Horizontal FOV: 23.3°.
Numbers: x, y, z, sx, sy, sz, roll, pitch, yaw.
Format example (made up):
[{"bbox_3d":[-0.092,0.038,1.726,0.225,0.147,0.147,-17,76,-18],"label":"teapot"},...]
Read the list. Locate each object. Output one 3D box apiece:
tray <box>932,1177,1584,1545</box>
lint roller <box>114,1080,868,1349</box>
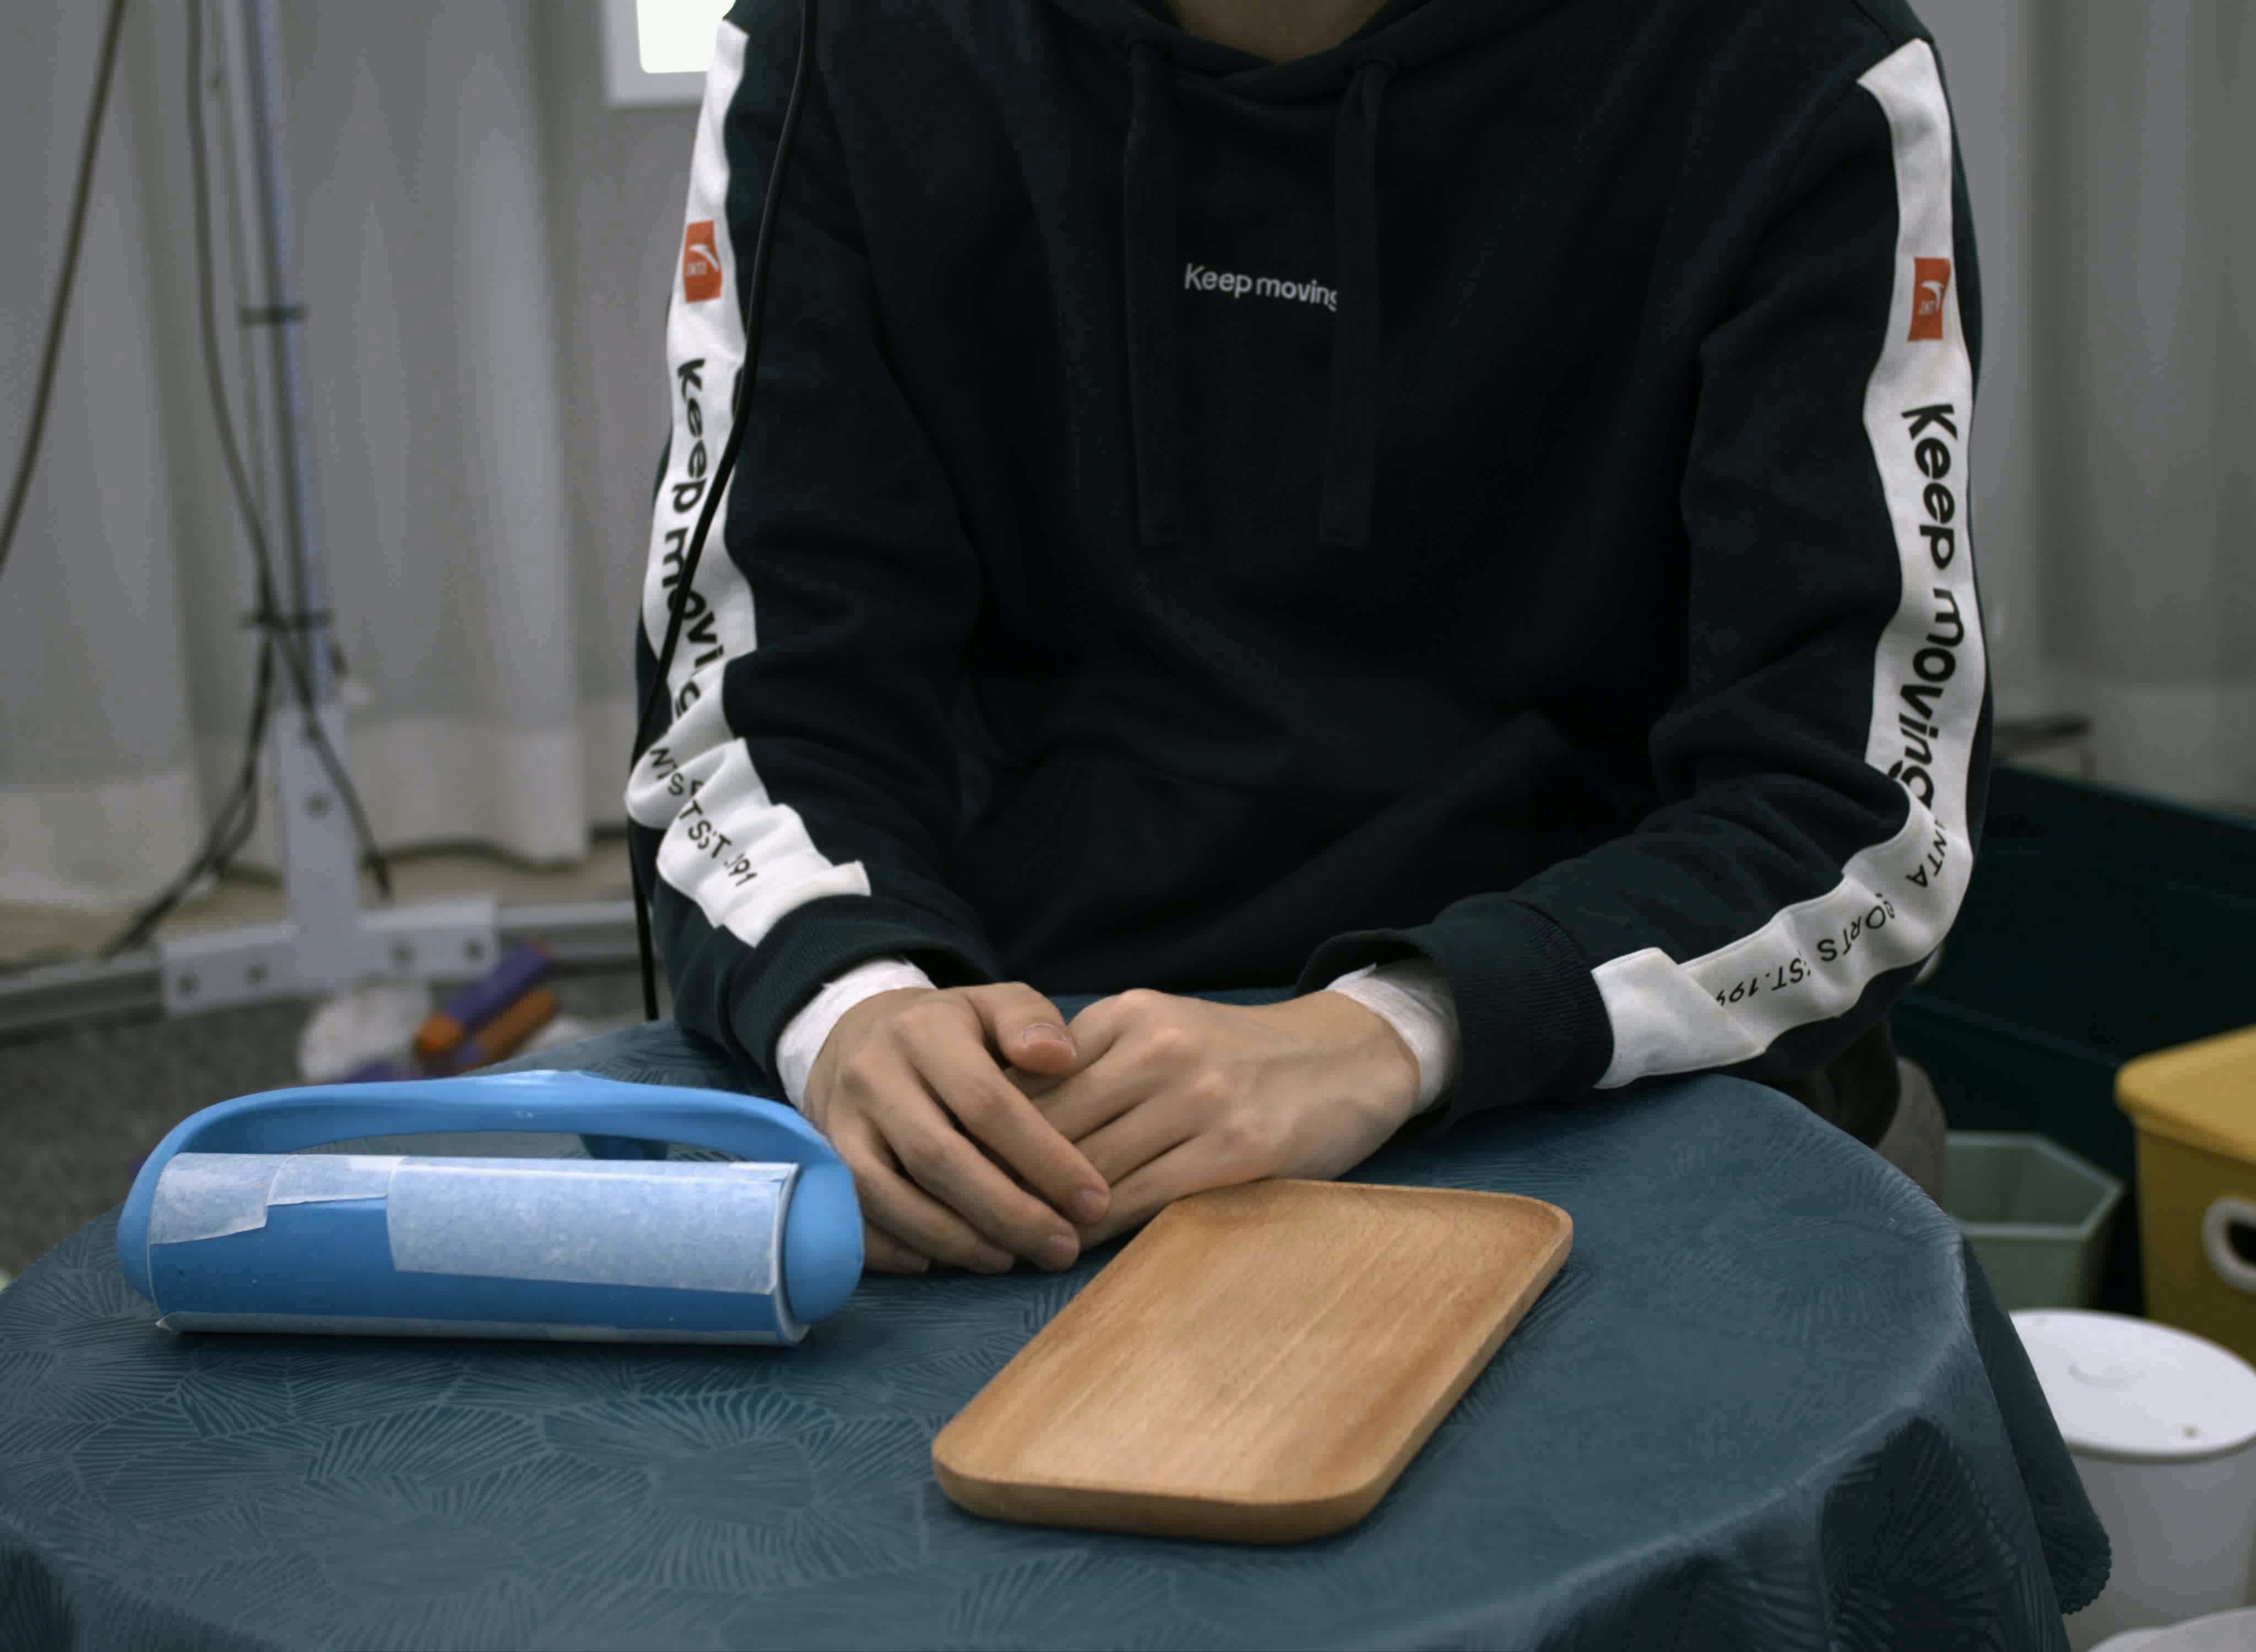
[{"bbox_3d":[0.041,0.148,1.547,0.130,0.023,0.251,5,16,20],"label":"tray"},{"bbox_3d":[-0.179,0.108,1.666,0.228,0.067,0.181,-2,16,10],"label":"lint roller"}]
